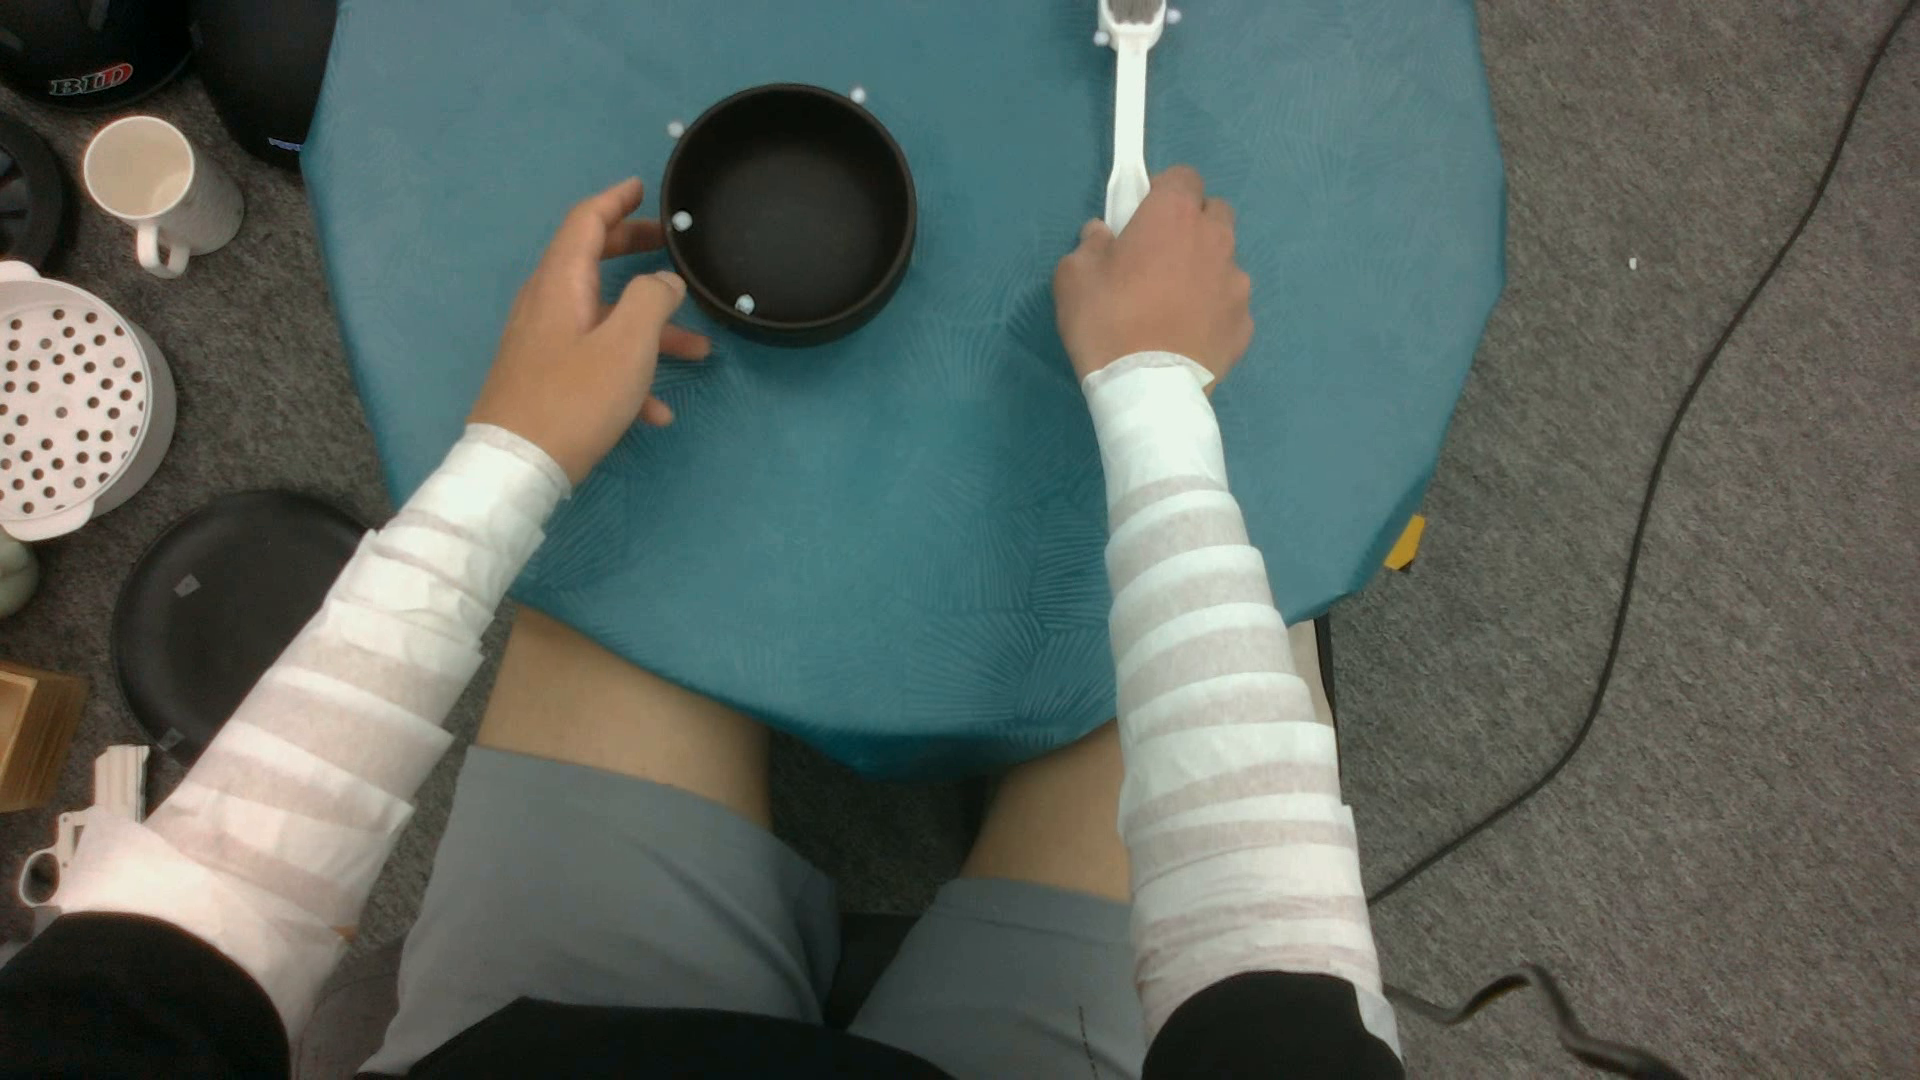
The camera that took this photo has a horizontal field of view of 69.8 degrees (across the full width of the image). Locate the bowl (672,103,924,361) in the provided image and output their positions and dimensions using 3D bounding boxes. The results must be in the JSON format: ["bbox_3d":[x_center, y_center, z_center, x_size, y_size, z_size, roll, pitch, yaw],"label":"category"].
[{"bbox_3d":[-0.077,-0.143,0.666,0.118,0.070,0.118,1,85,-6],"label":"bowl"}]

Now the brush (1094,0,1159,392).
[{"bbox_3d":[0.084,-0.198,0.698,0.034,0.050,0.244,1,82,3],"label":"brush"}]
